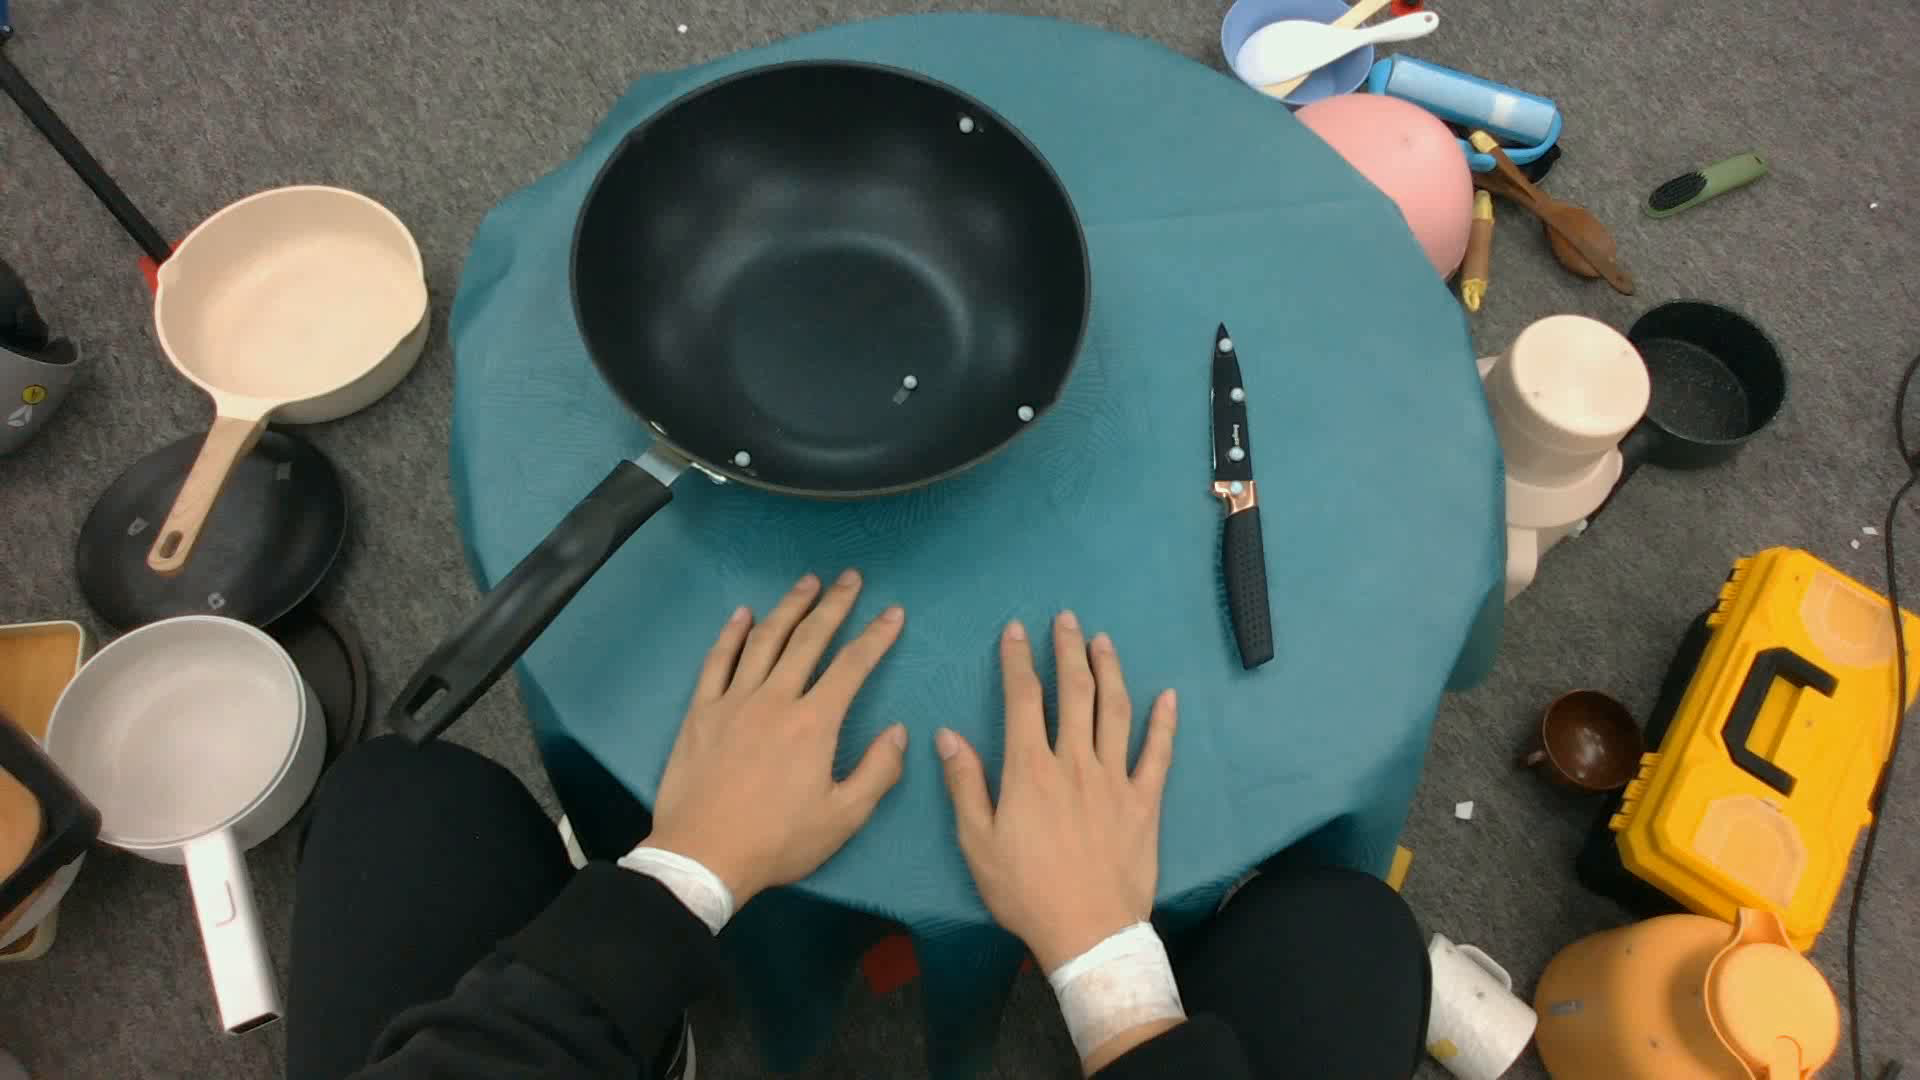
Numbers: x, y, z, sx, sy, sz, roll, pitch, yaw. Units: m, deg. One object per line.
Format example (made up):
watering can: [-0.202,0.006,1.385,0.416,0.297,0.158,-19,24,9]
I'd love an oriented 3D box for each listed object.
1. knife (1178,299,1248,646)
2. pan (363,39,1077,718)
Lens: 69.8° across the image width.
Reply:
knife: [0.146,-0.045,0.795,0.026,0.017,0.226,-6,65,10]
pan: [-0.131,-0.078,0.747,0.288,0.086,0.465,34,69,10]
